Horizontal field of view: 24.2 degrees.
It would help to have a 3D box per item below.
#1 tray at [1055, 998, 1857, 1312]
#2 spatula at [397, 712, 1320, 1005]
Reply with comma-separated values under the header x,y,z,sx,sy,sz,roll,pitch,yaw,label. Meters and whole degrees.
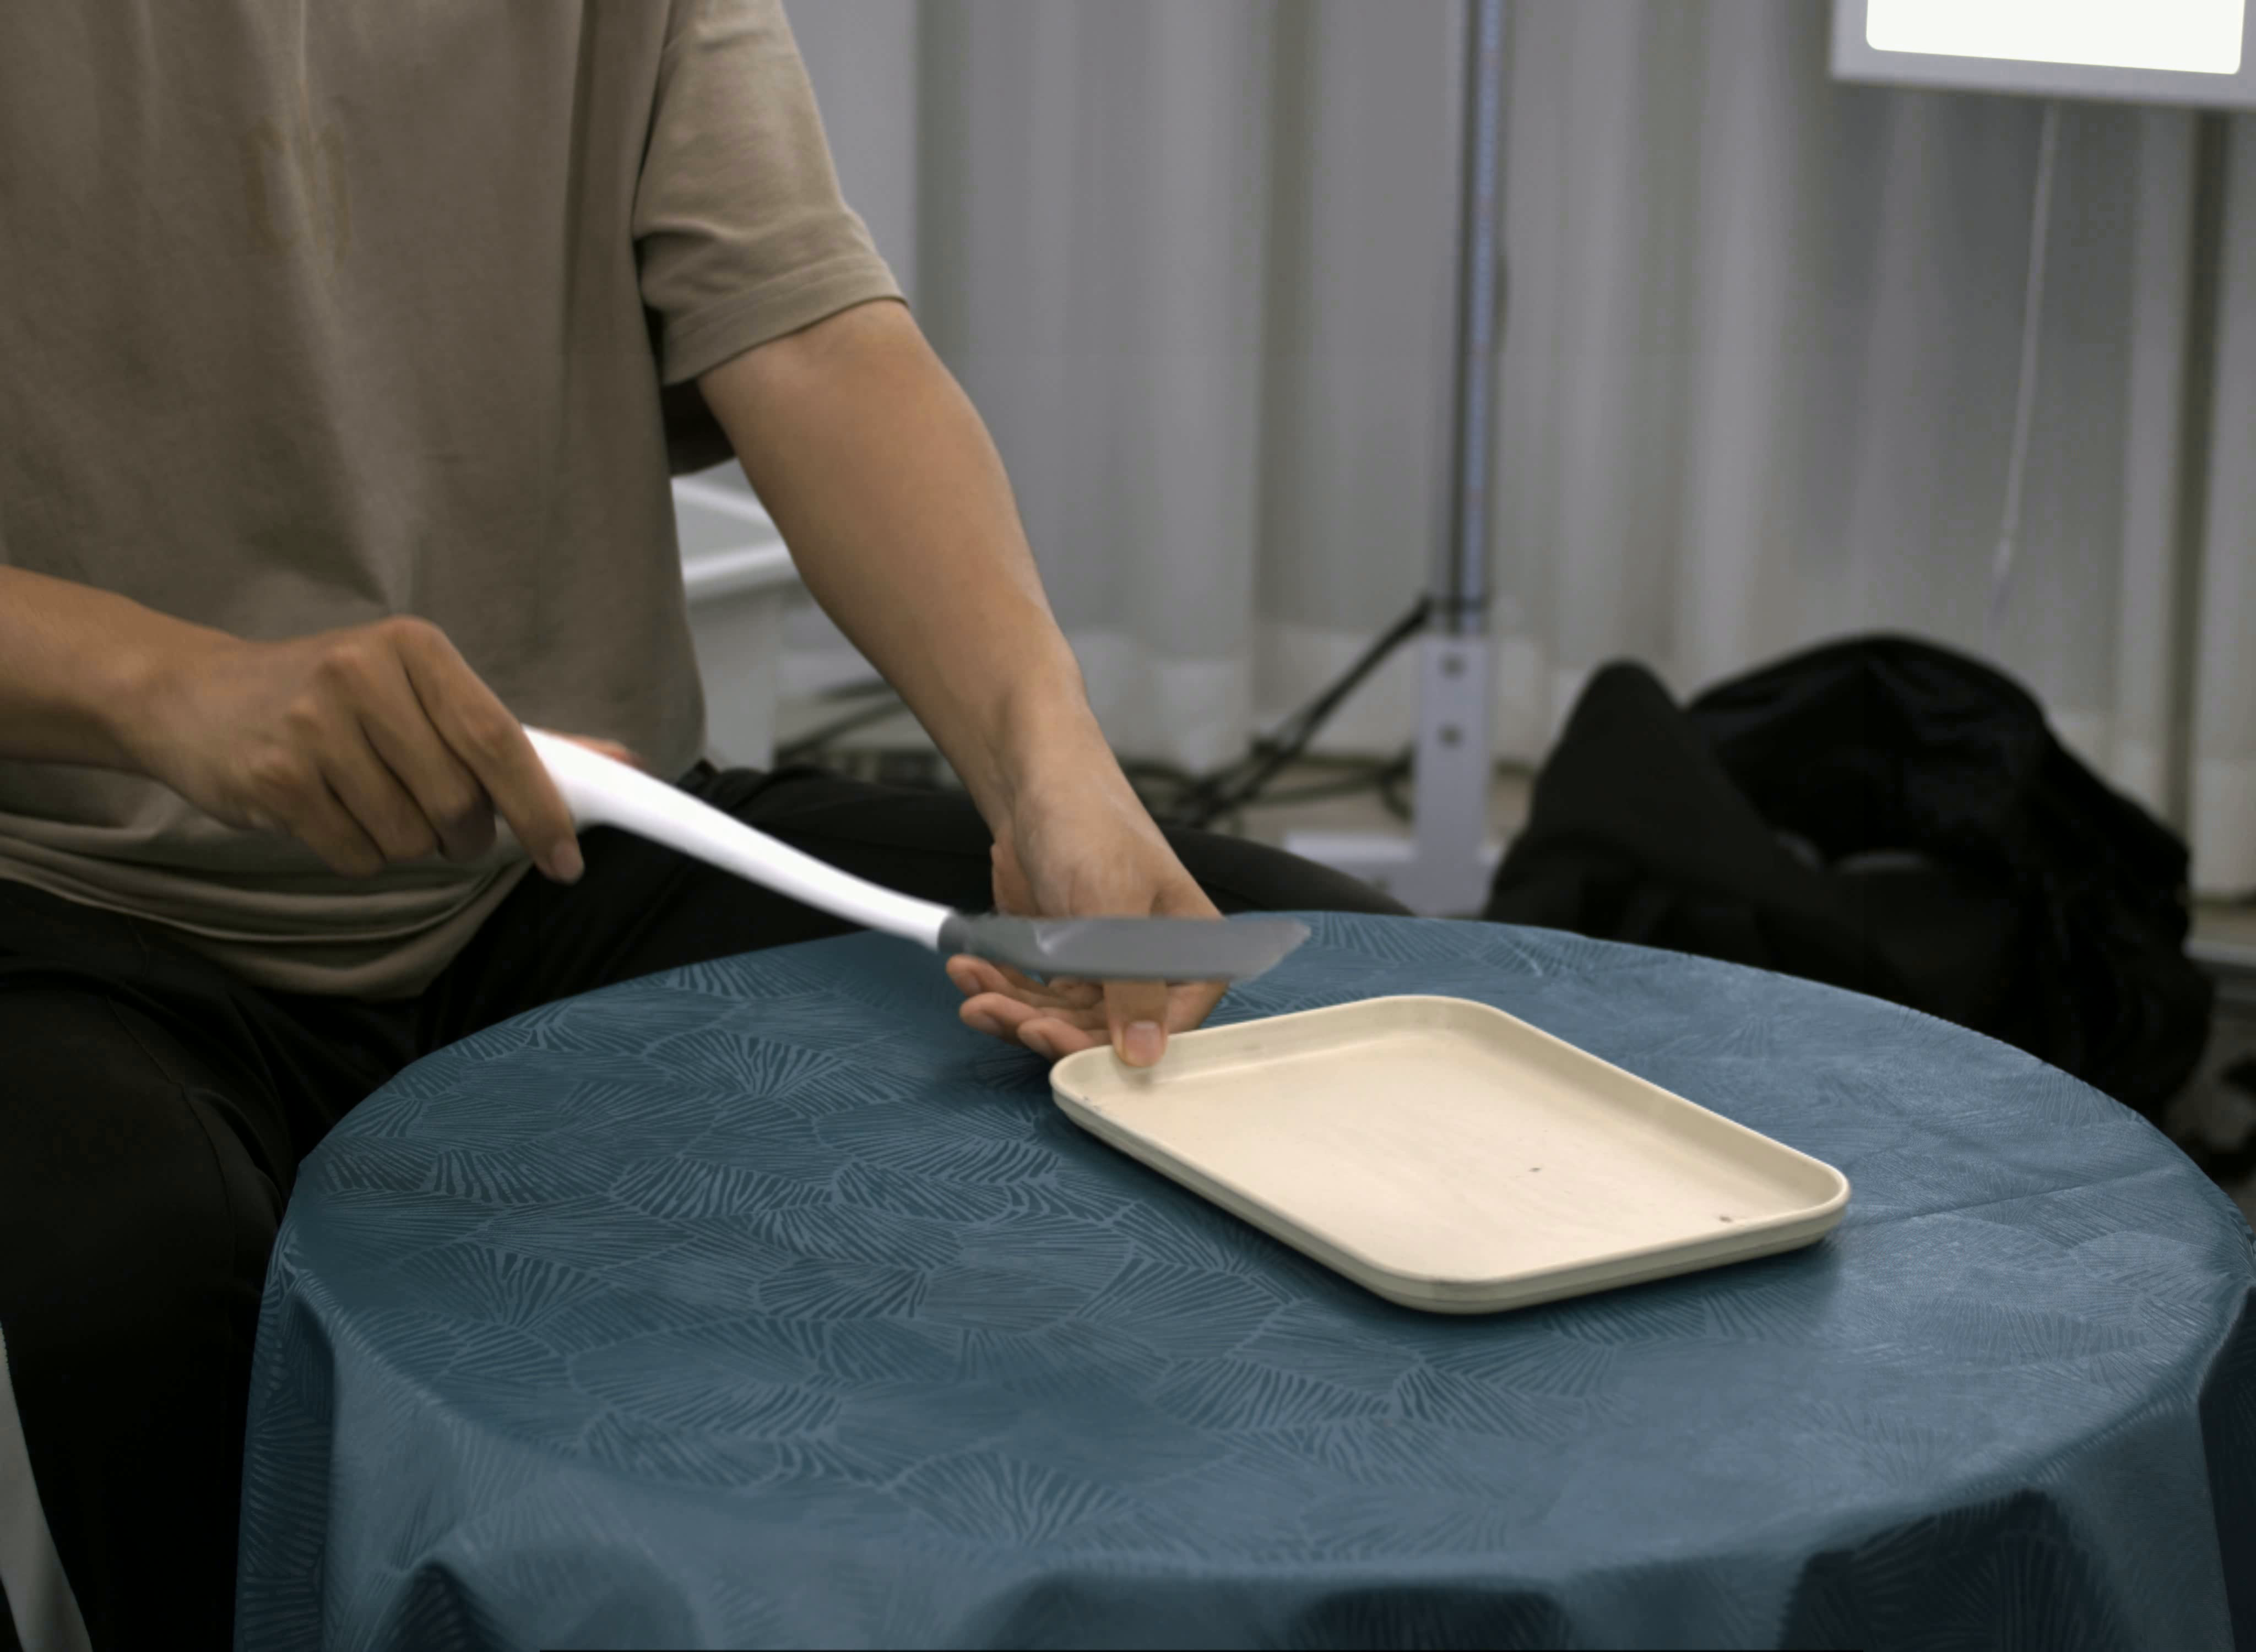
x,y,z,sx,sy,sz,roll,pitch,yaw,label
0.098,0.101,1.640,0.172,0.017,0.236,-8,18,-31,tray
-0.082,0.015,1.525,0.284,0.032,0.059,15,19,20,spatula
